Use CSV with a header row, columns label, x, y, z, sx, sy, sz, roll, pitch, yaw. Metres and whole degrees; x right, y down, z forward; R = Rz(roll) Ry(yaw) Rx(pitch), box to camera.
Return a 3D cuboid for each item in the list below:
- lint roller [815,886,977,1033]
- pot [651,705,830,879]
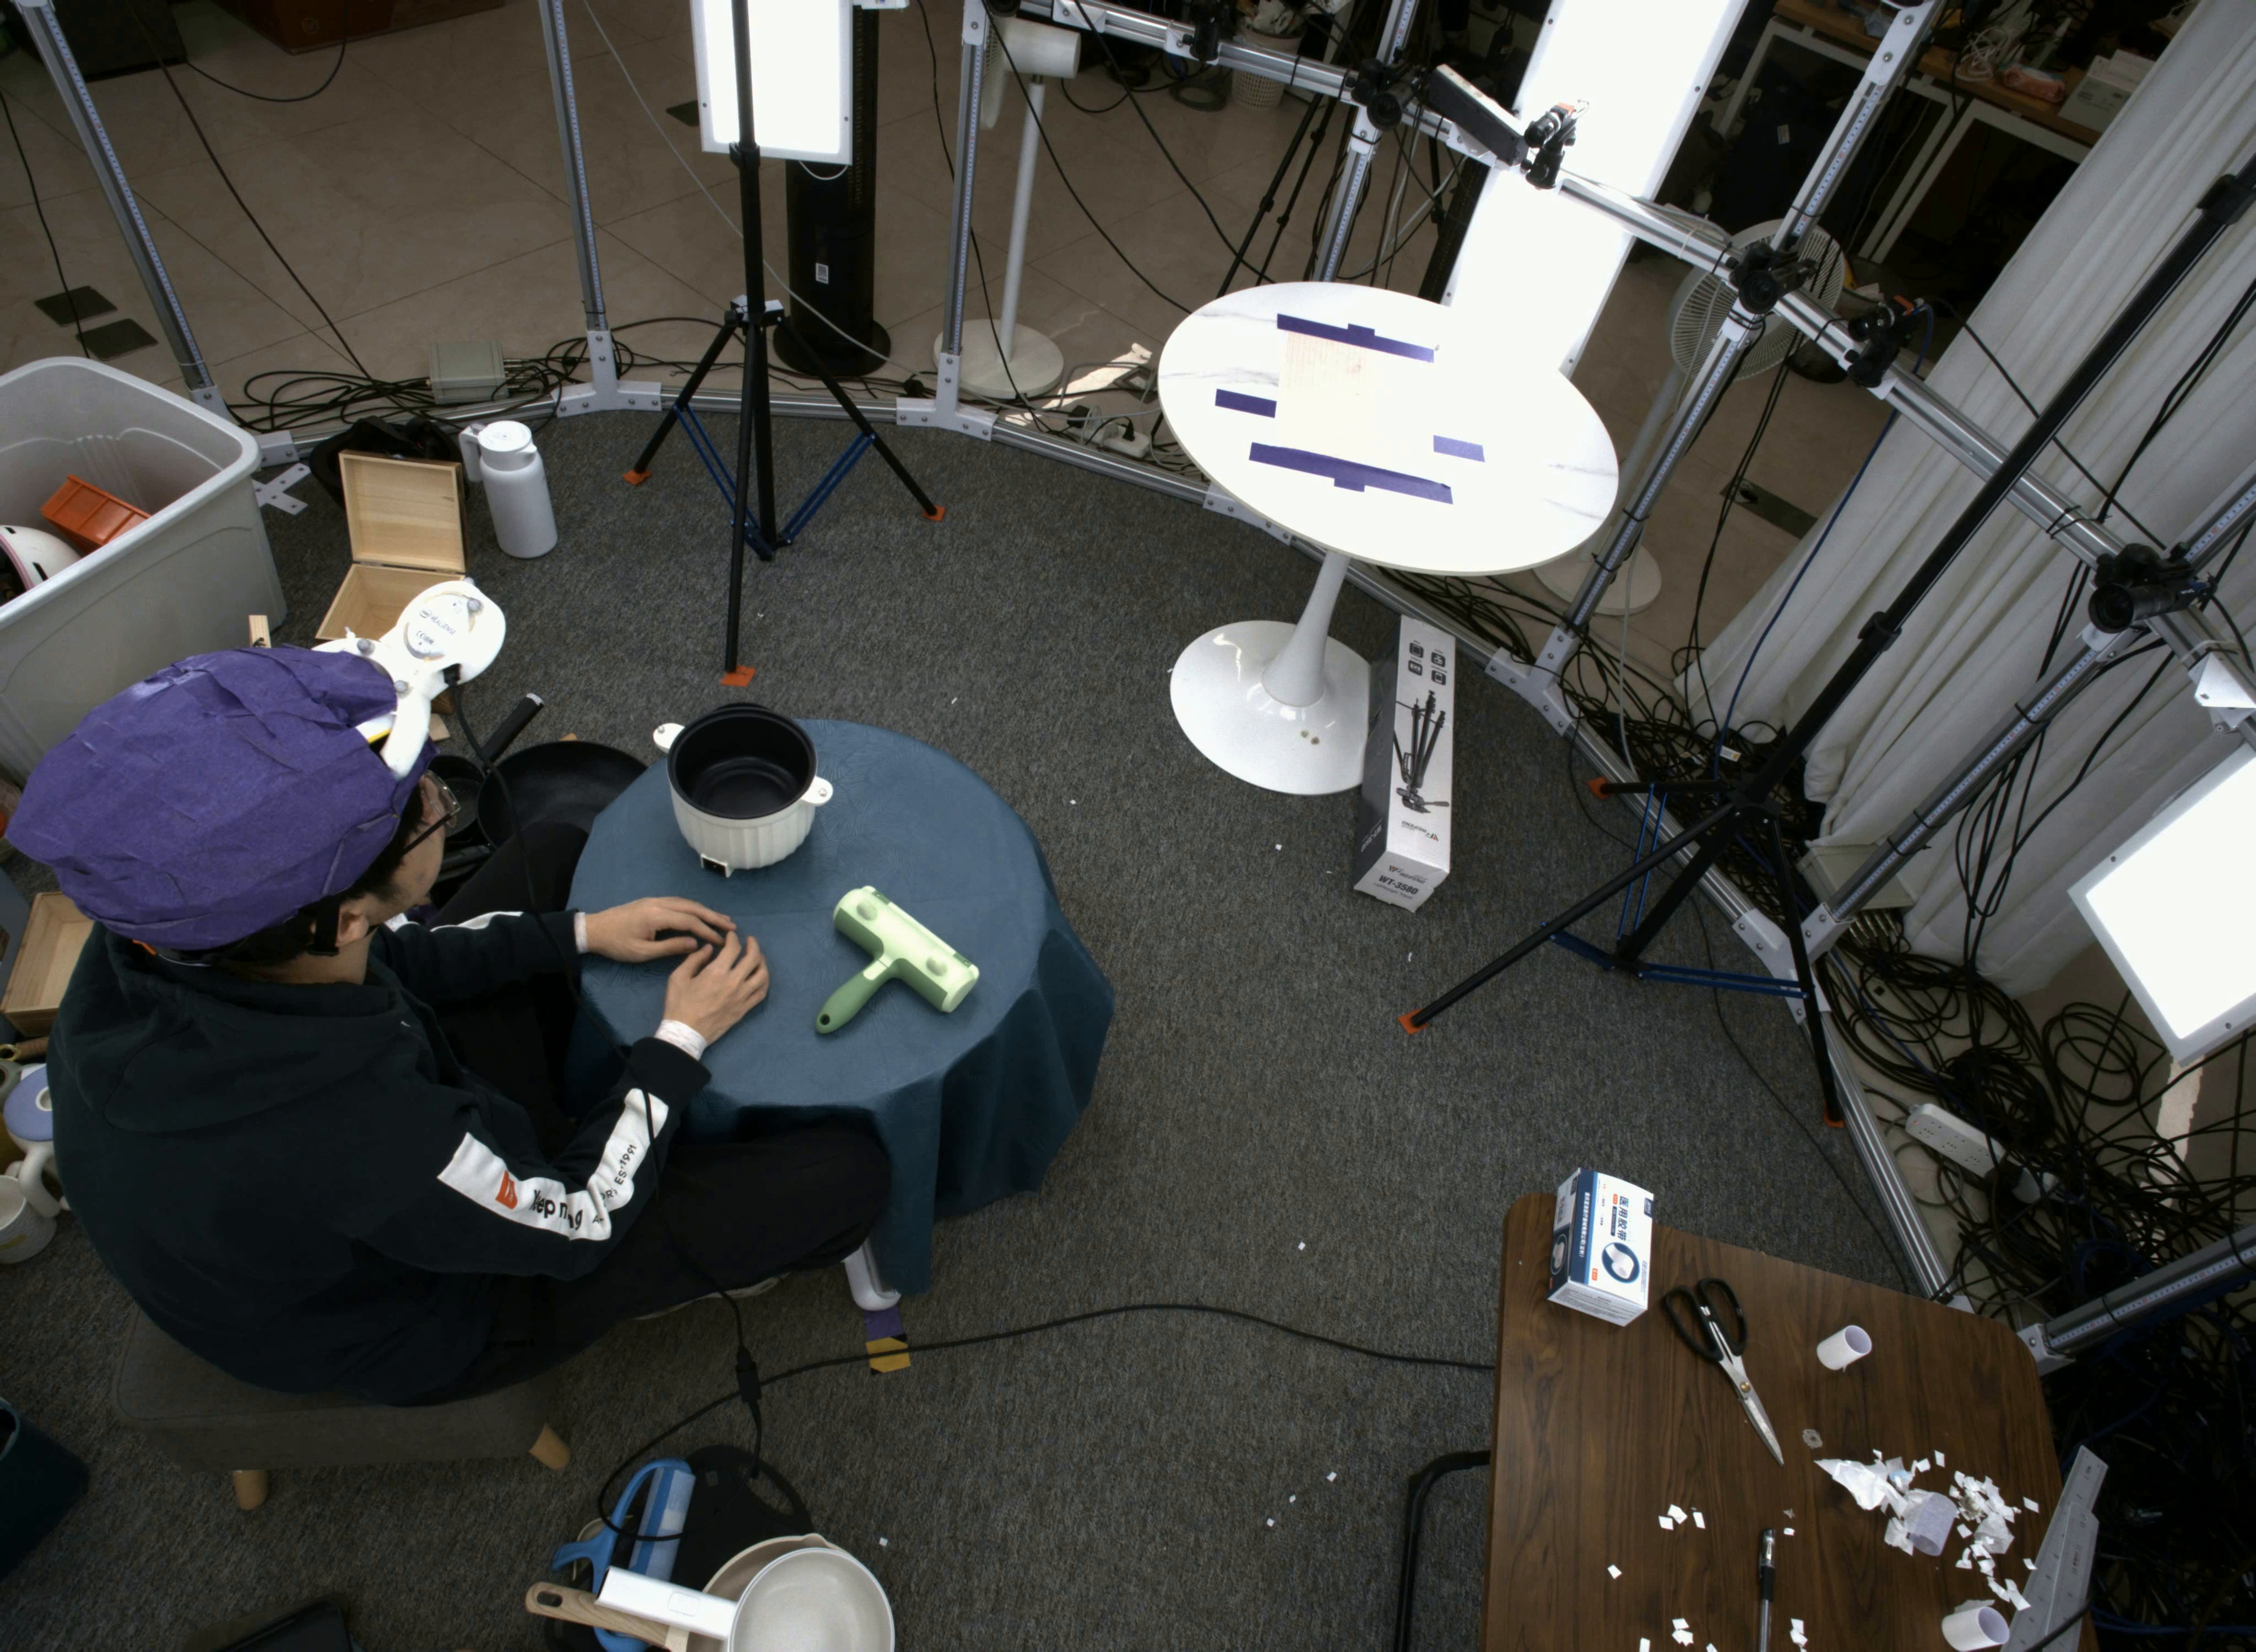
label,x,y,z,sx,sy,sz,roll,pitch,yaw
lint roller,-0.312,0.174,1.583,0.195,0.084,0.183,36,49,13
pot,-0.492,-0.046,1.657,0.238,0.145,0.189,21,55,0
